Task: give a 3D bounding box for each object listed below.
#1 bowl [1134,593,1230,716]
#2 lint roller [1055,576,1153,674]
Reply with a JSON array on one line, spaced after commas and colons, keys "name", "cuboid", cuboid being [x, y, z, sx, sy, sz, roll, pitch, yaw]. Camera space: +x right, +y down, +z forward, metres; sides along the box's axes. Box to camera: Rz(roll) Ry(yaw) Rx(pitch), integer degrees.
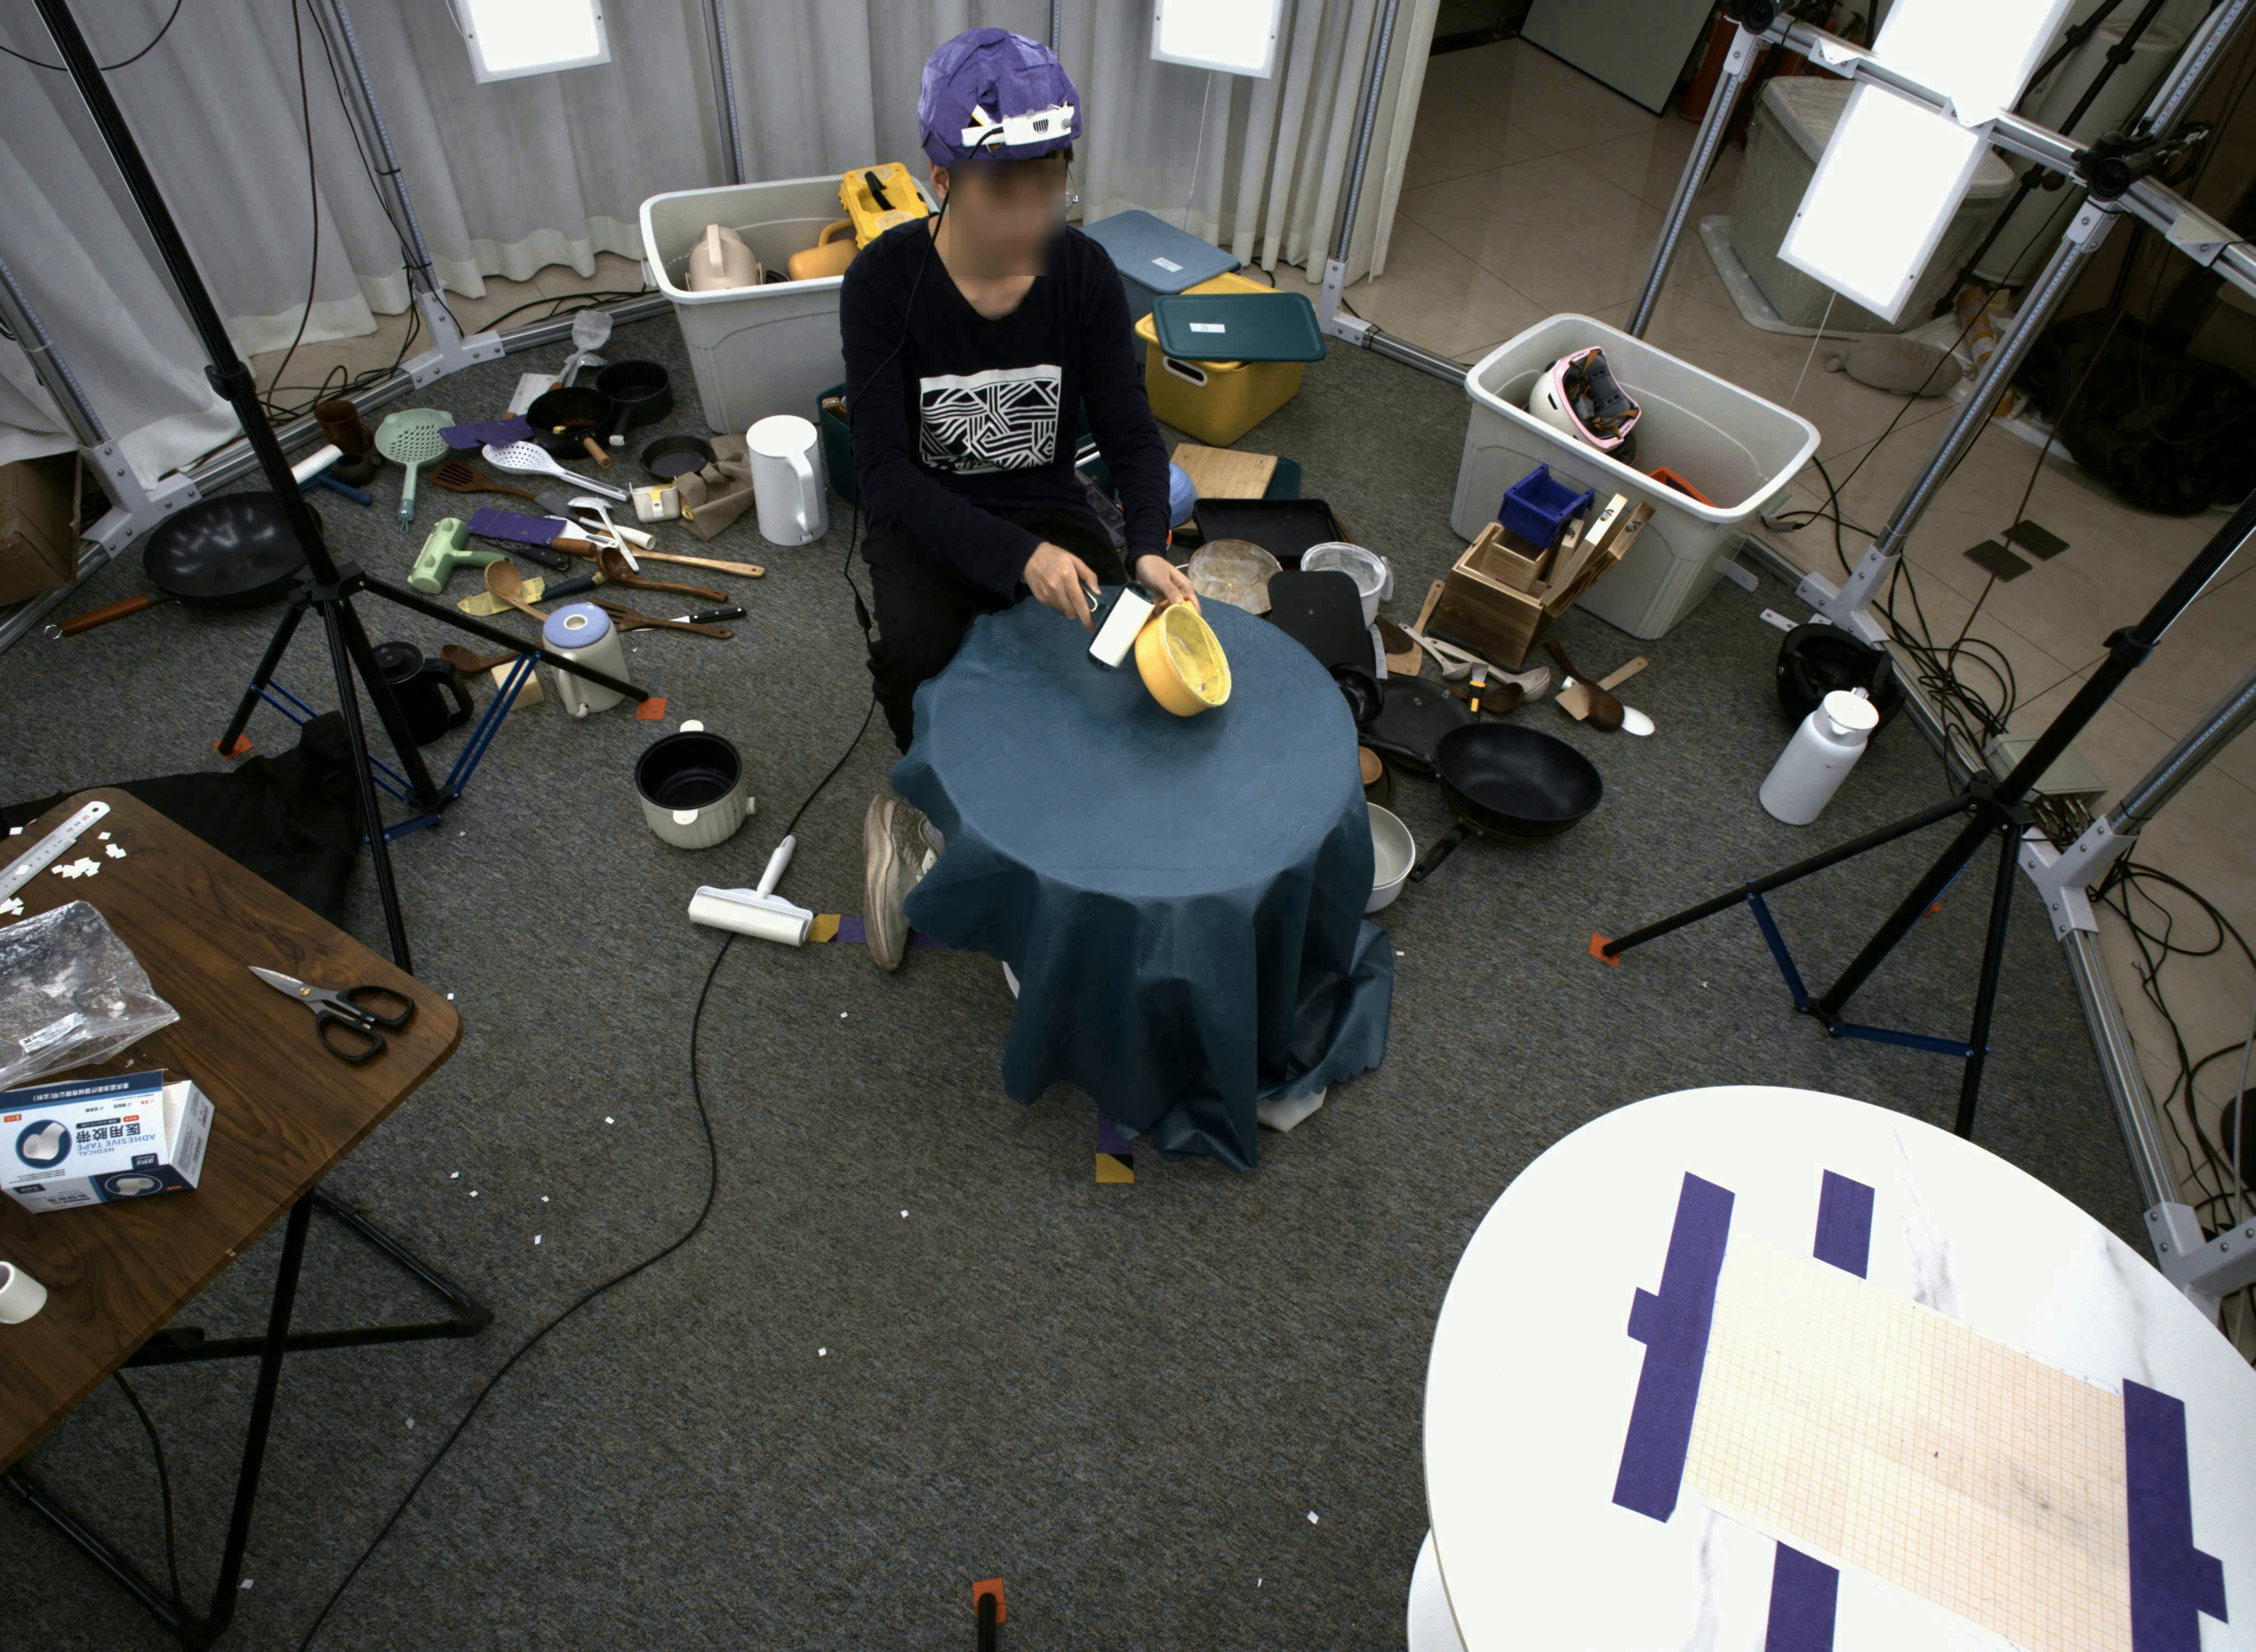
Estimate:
[{"name": "bowl", "cuboid": [0.070, -0.237, 1.790, 0.151, 0.074, 0.183, 15, 55, -46]}, {"name": "lint roller", "cuboid": [-0.054, -0.306, 1.792, 0.183, 0.133, 0.048, 40, 15, 31]}]
